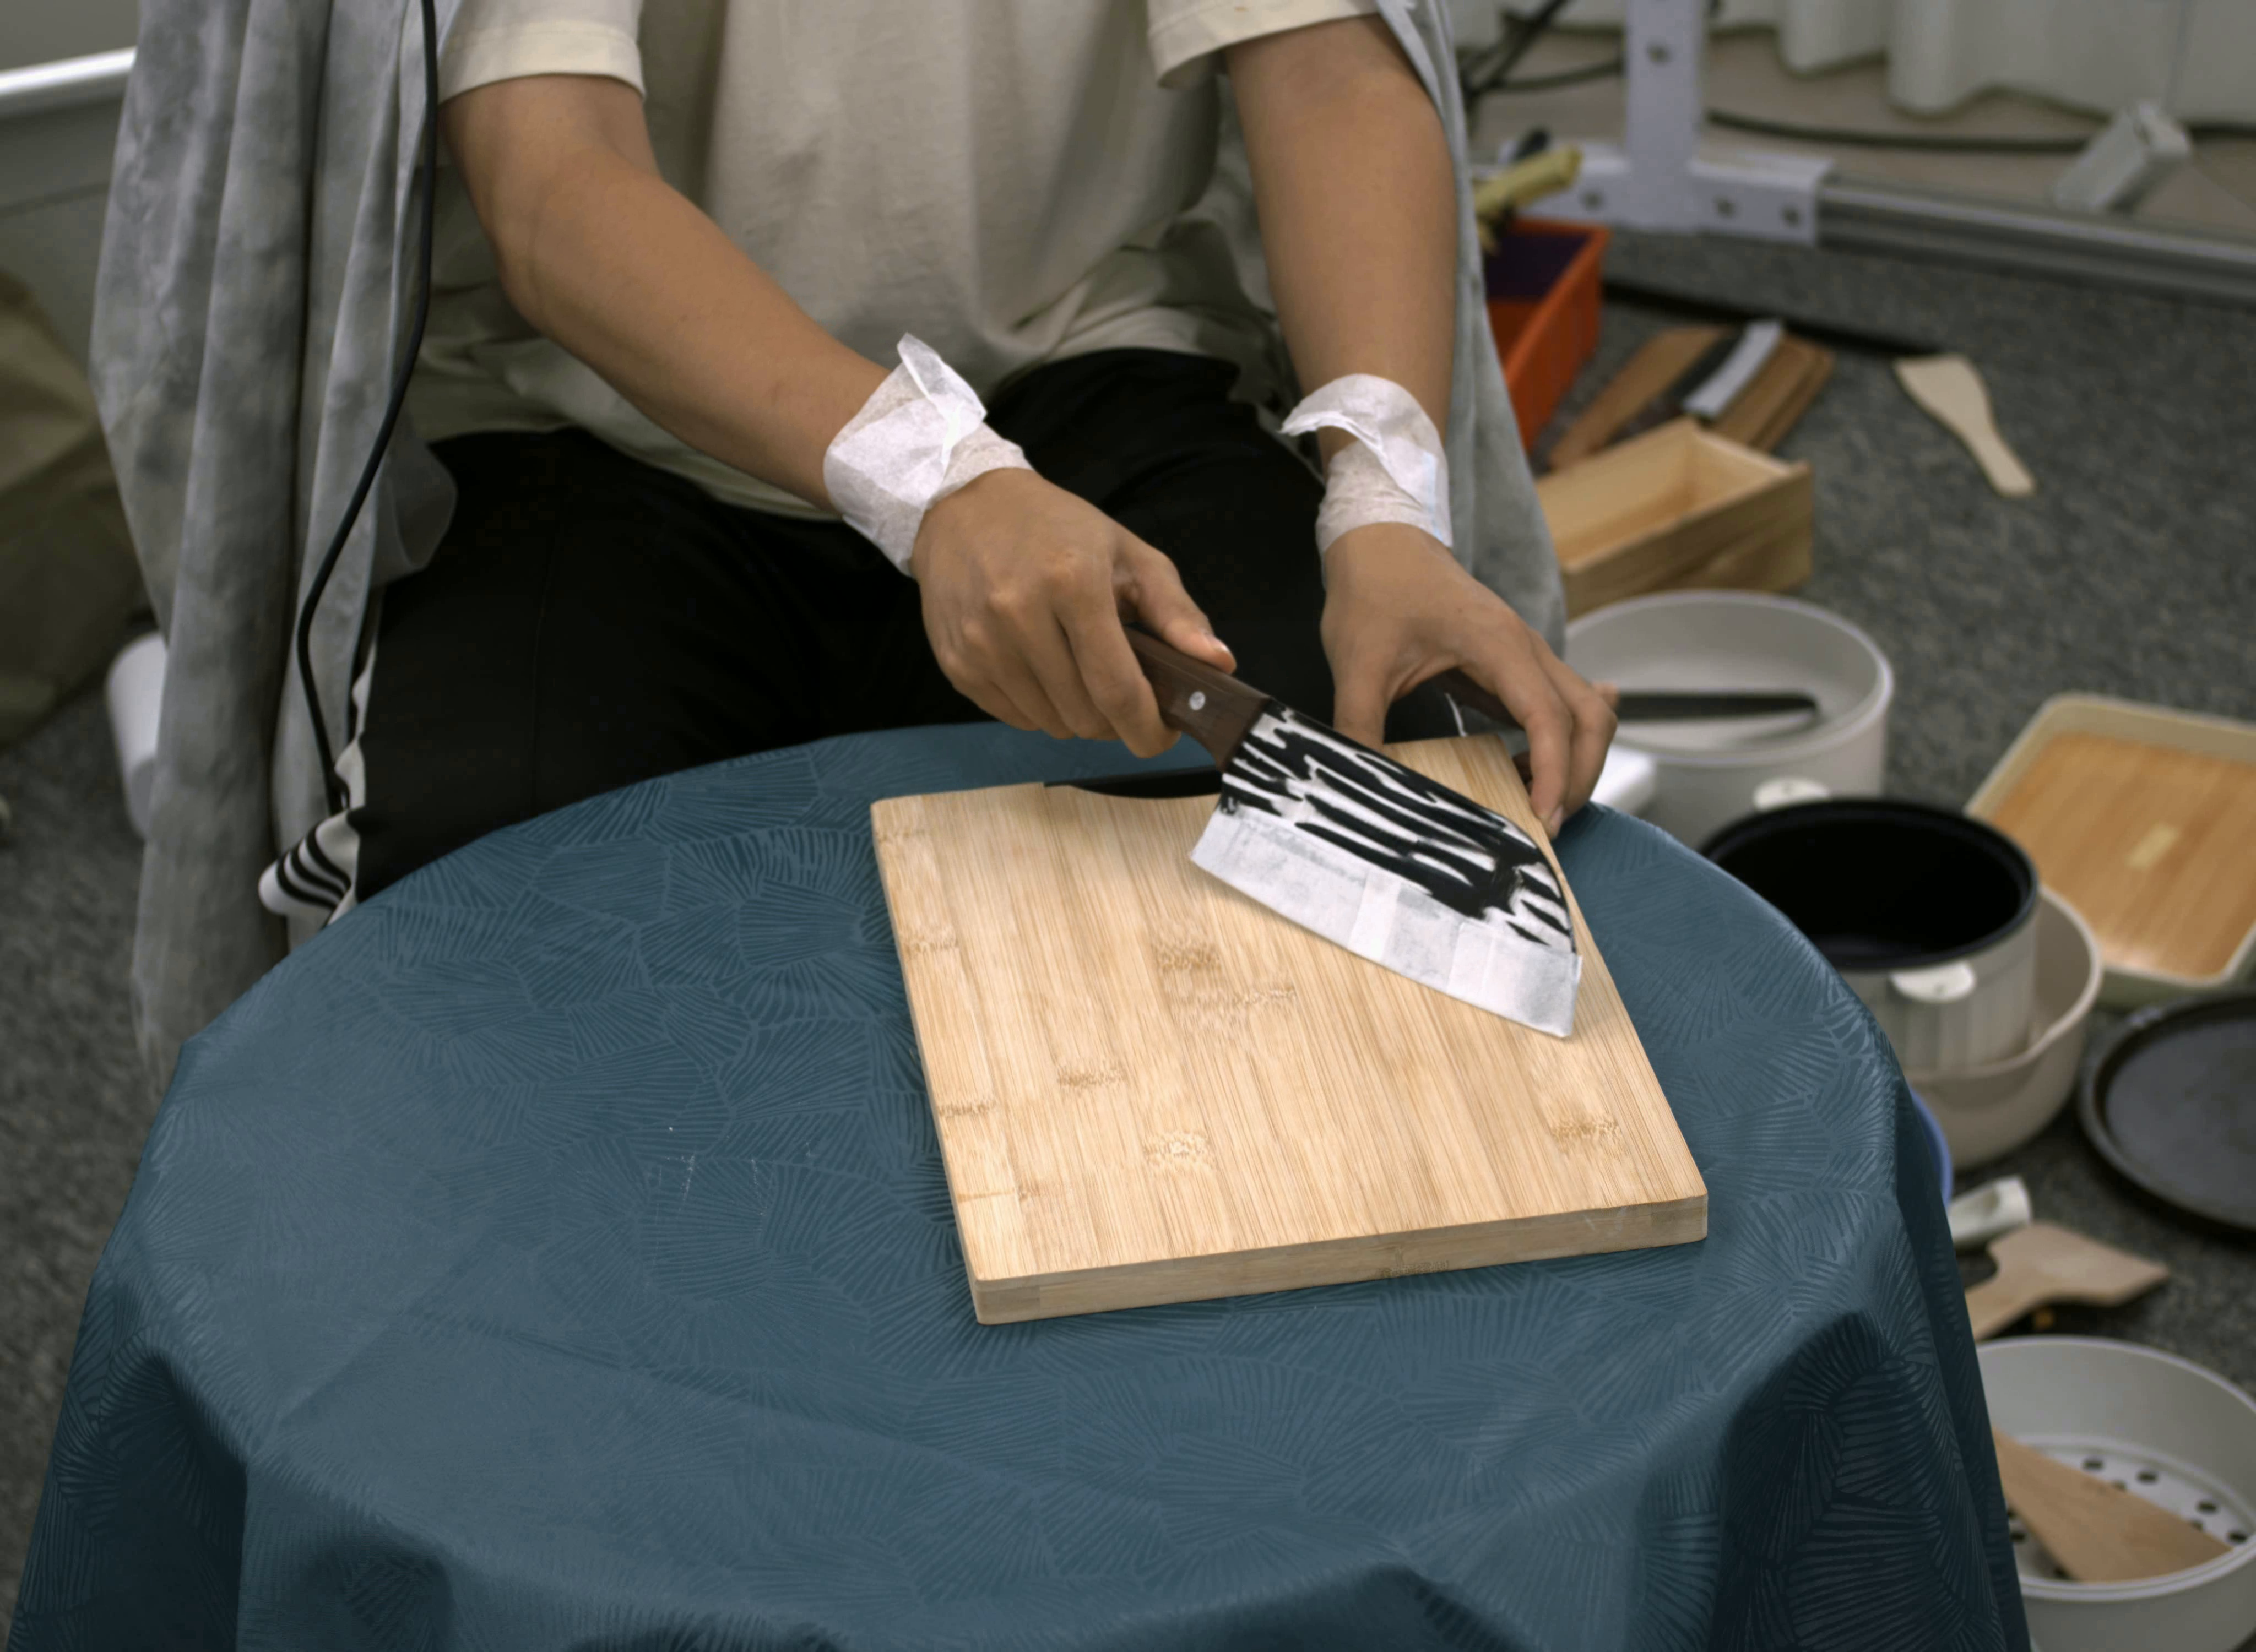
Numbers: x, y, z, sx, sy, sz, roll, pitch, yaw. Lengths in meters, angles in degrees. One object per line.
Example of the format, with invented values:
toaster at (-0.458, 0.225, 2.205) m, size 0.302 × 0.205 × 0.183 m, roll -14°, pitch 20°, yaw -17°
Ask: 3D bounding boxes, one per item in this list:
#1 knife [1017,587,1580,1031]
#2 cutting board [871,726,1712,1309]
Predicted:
knife at (0.056, -0.008, 1.994) m, size 0.300 × 0.068 × 0.024 m, roll 29°, pitch 6°, yaw 39°
cutting board at (0.046, 0.061, 1.955) m, size 0.250 × 0.023 × 0.353 m, roll -6°, pitch 27°, yaw -7°
